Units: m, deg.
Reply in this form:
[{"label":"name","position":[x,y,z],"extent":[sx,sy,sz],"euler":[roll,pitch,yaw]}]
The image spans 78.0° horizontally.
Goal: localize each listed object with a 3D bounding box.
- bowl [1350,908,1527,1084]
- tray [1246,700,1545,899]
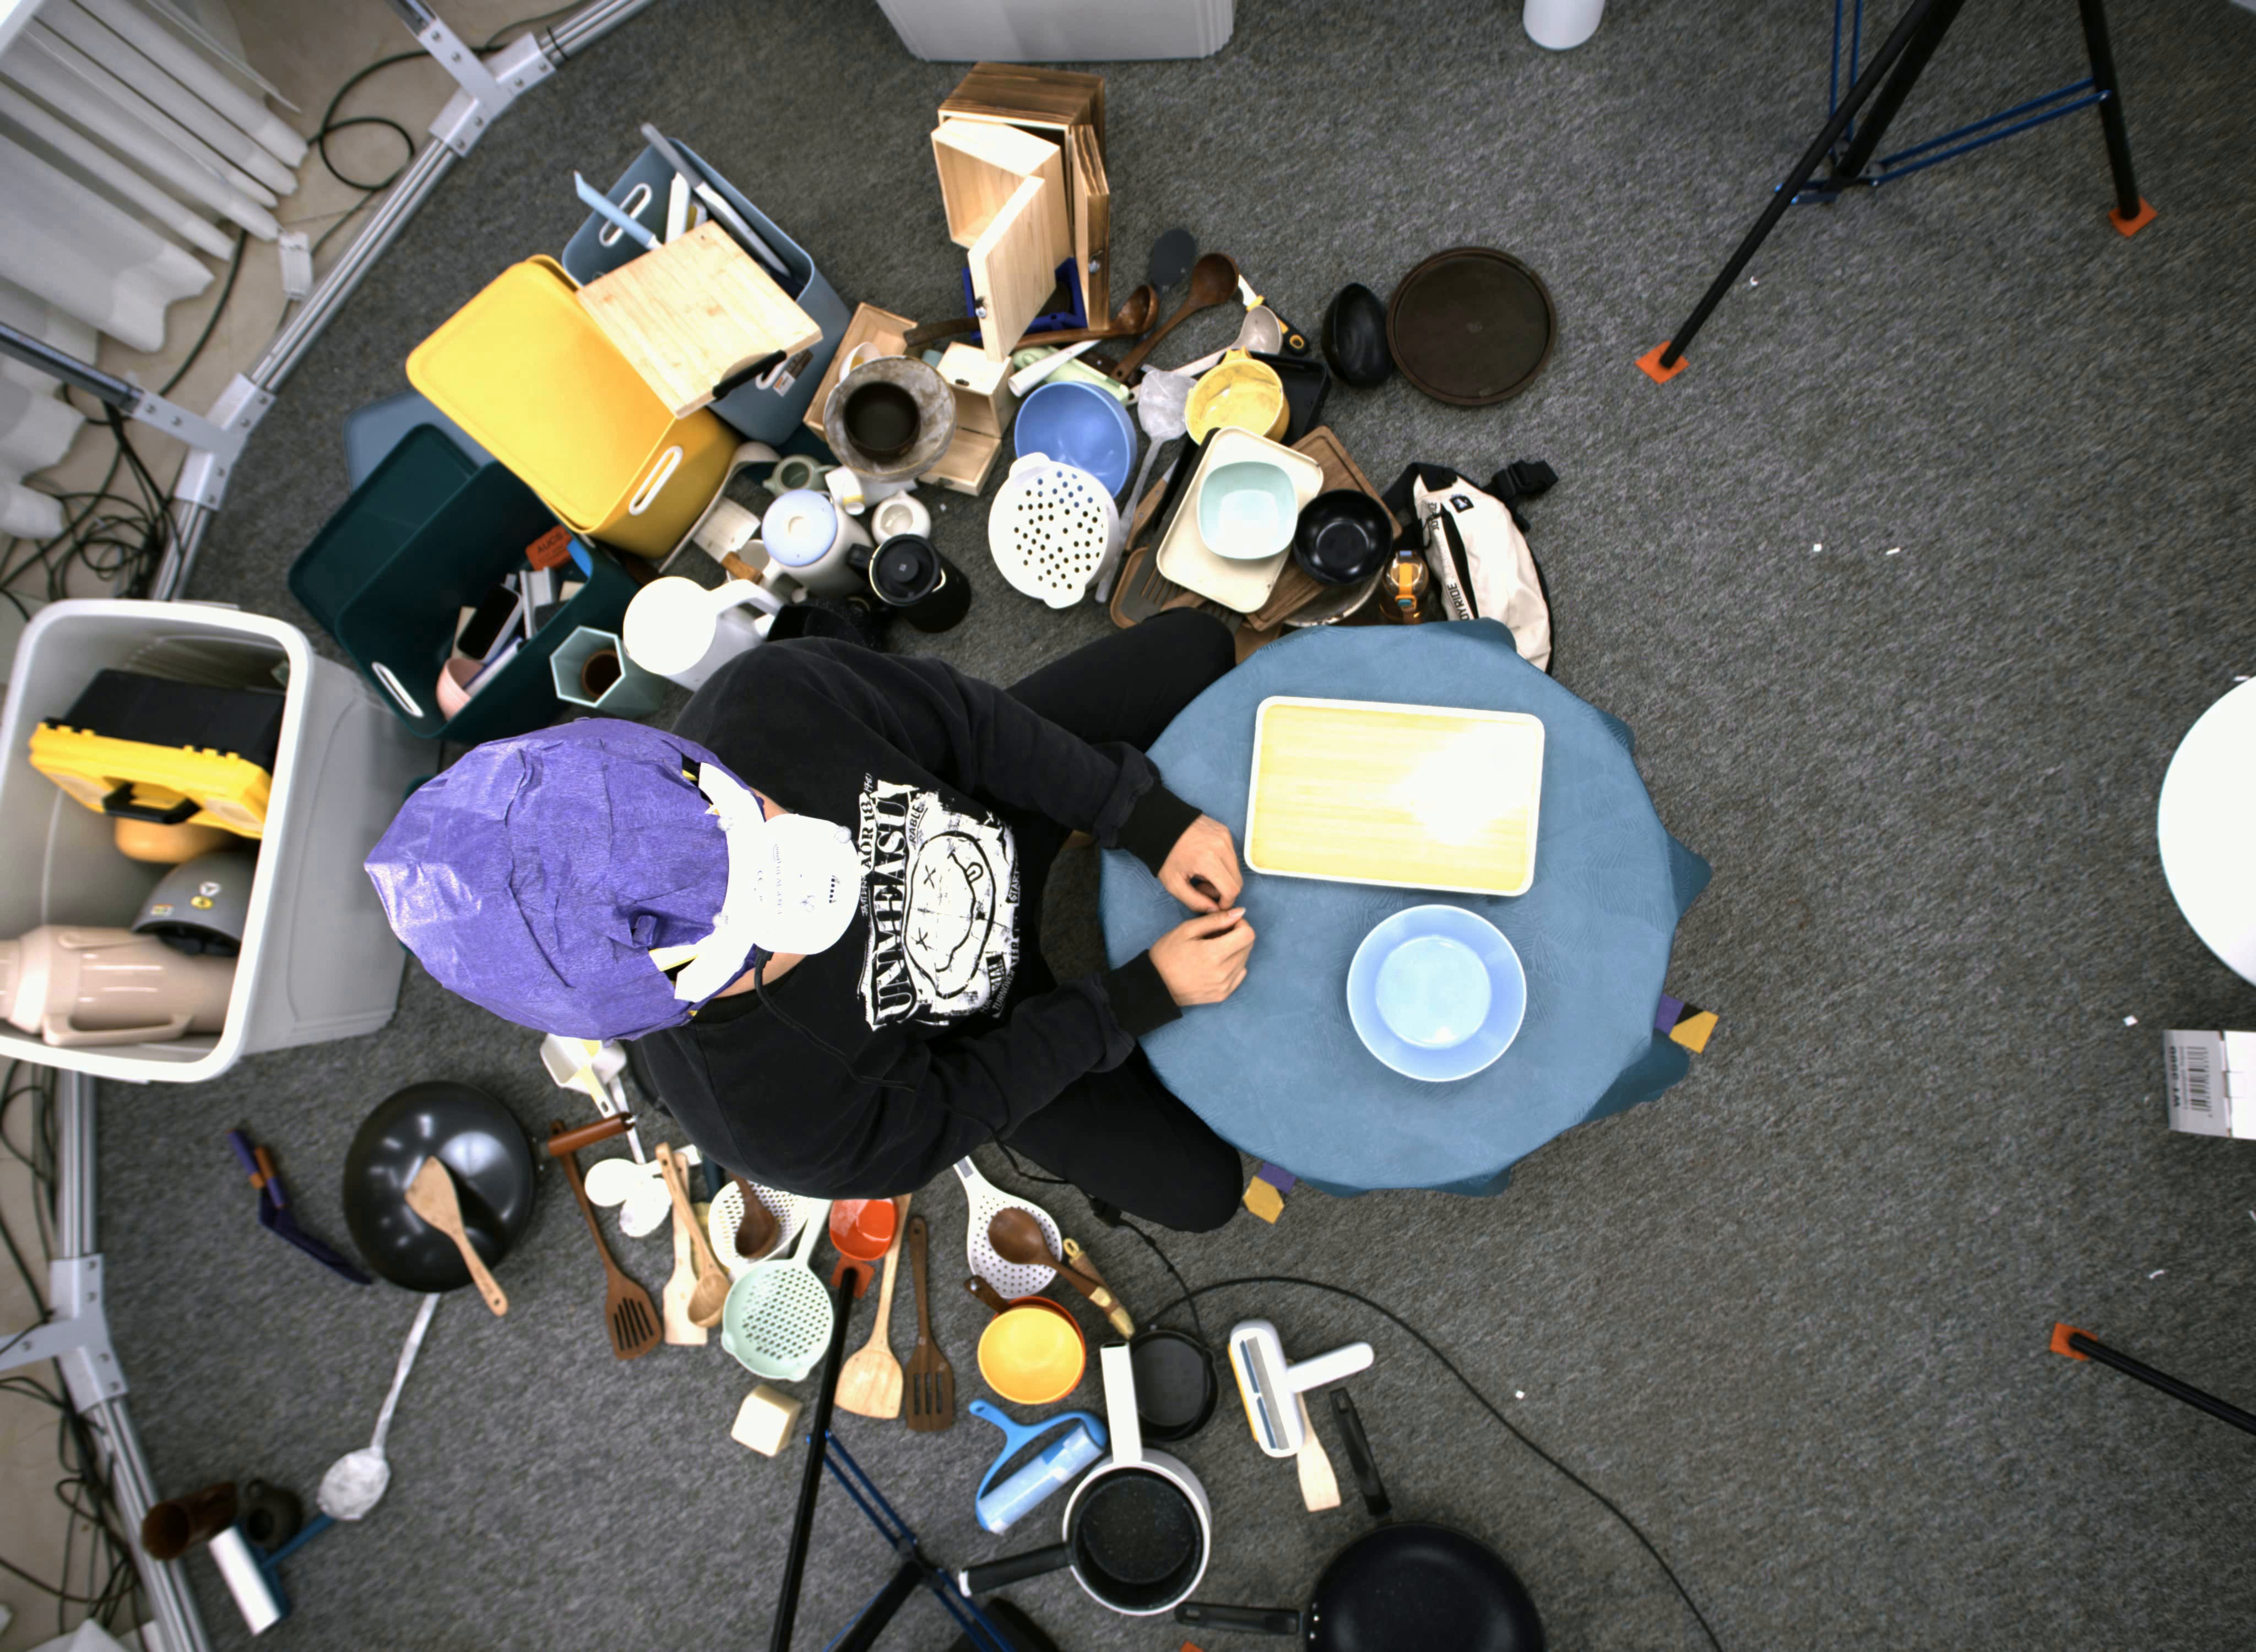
[{"label":"bowl","position":[0.315,0.172,1.413],"extent":[0.177,0.070,0.175],"euler":[-1,84,10]},{"label":"tray","position":[0.281,-0.031,1.457],"extent":[0.301,0.027,0.191],"euler":[5,87,10]}]
